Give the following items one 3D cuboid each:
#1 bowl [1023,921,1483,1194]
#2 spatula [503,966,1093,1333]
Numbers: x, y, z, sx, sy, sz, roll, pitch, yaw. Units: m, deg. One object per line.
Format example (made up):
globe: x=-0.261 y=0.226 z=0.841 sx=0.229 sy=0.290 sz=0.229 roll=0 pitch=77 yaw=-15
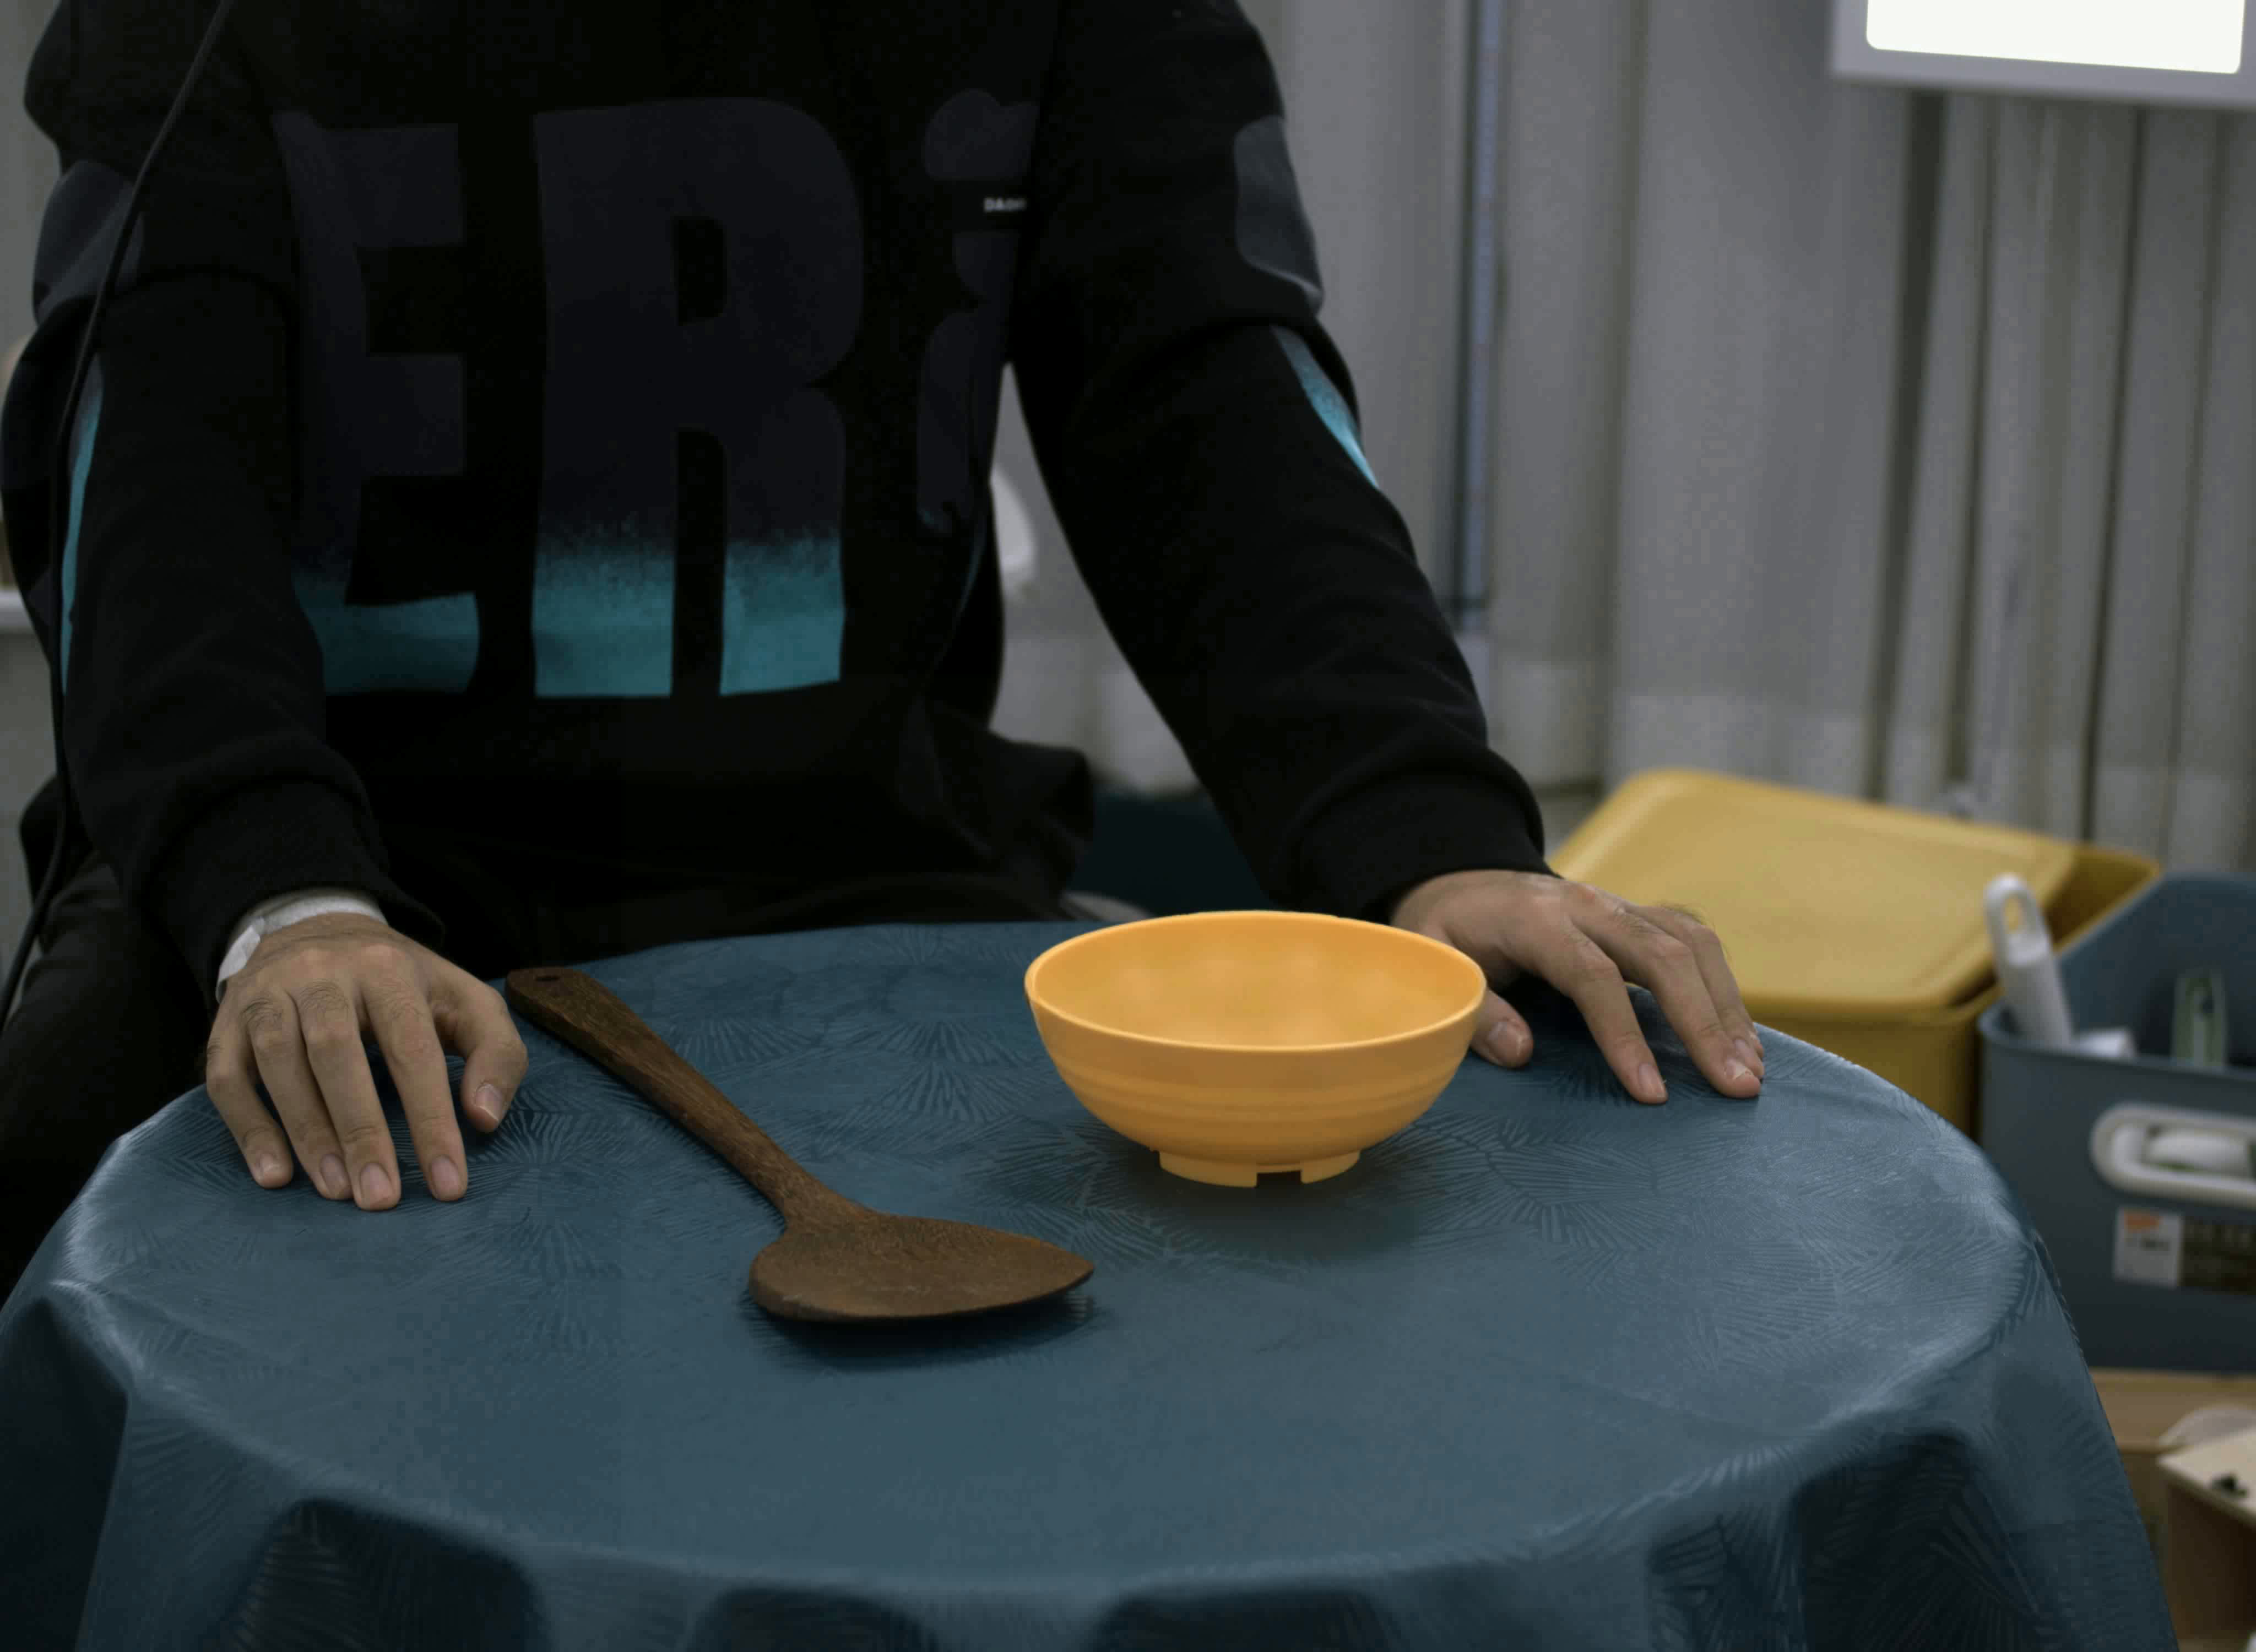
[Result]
bowl: x=0.038 y=0.077 z=1.652 sx=0.145 sy=0.060 sz=0.144 roll=3 pitch=14 yaw=0
spatula: x=-0.126 y=0.095 z=1.657 sx=0.096 sy=0.016 sz=0.381 roll=-6 pitch=17 yaw=-25
